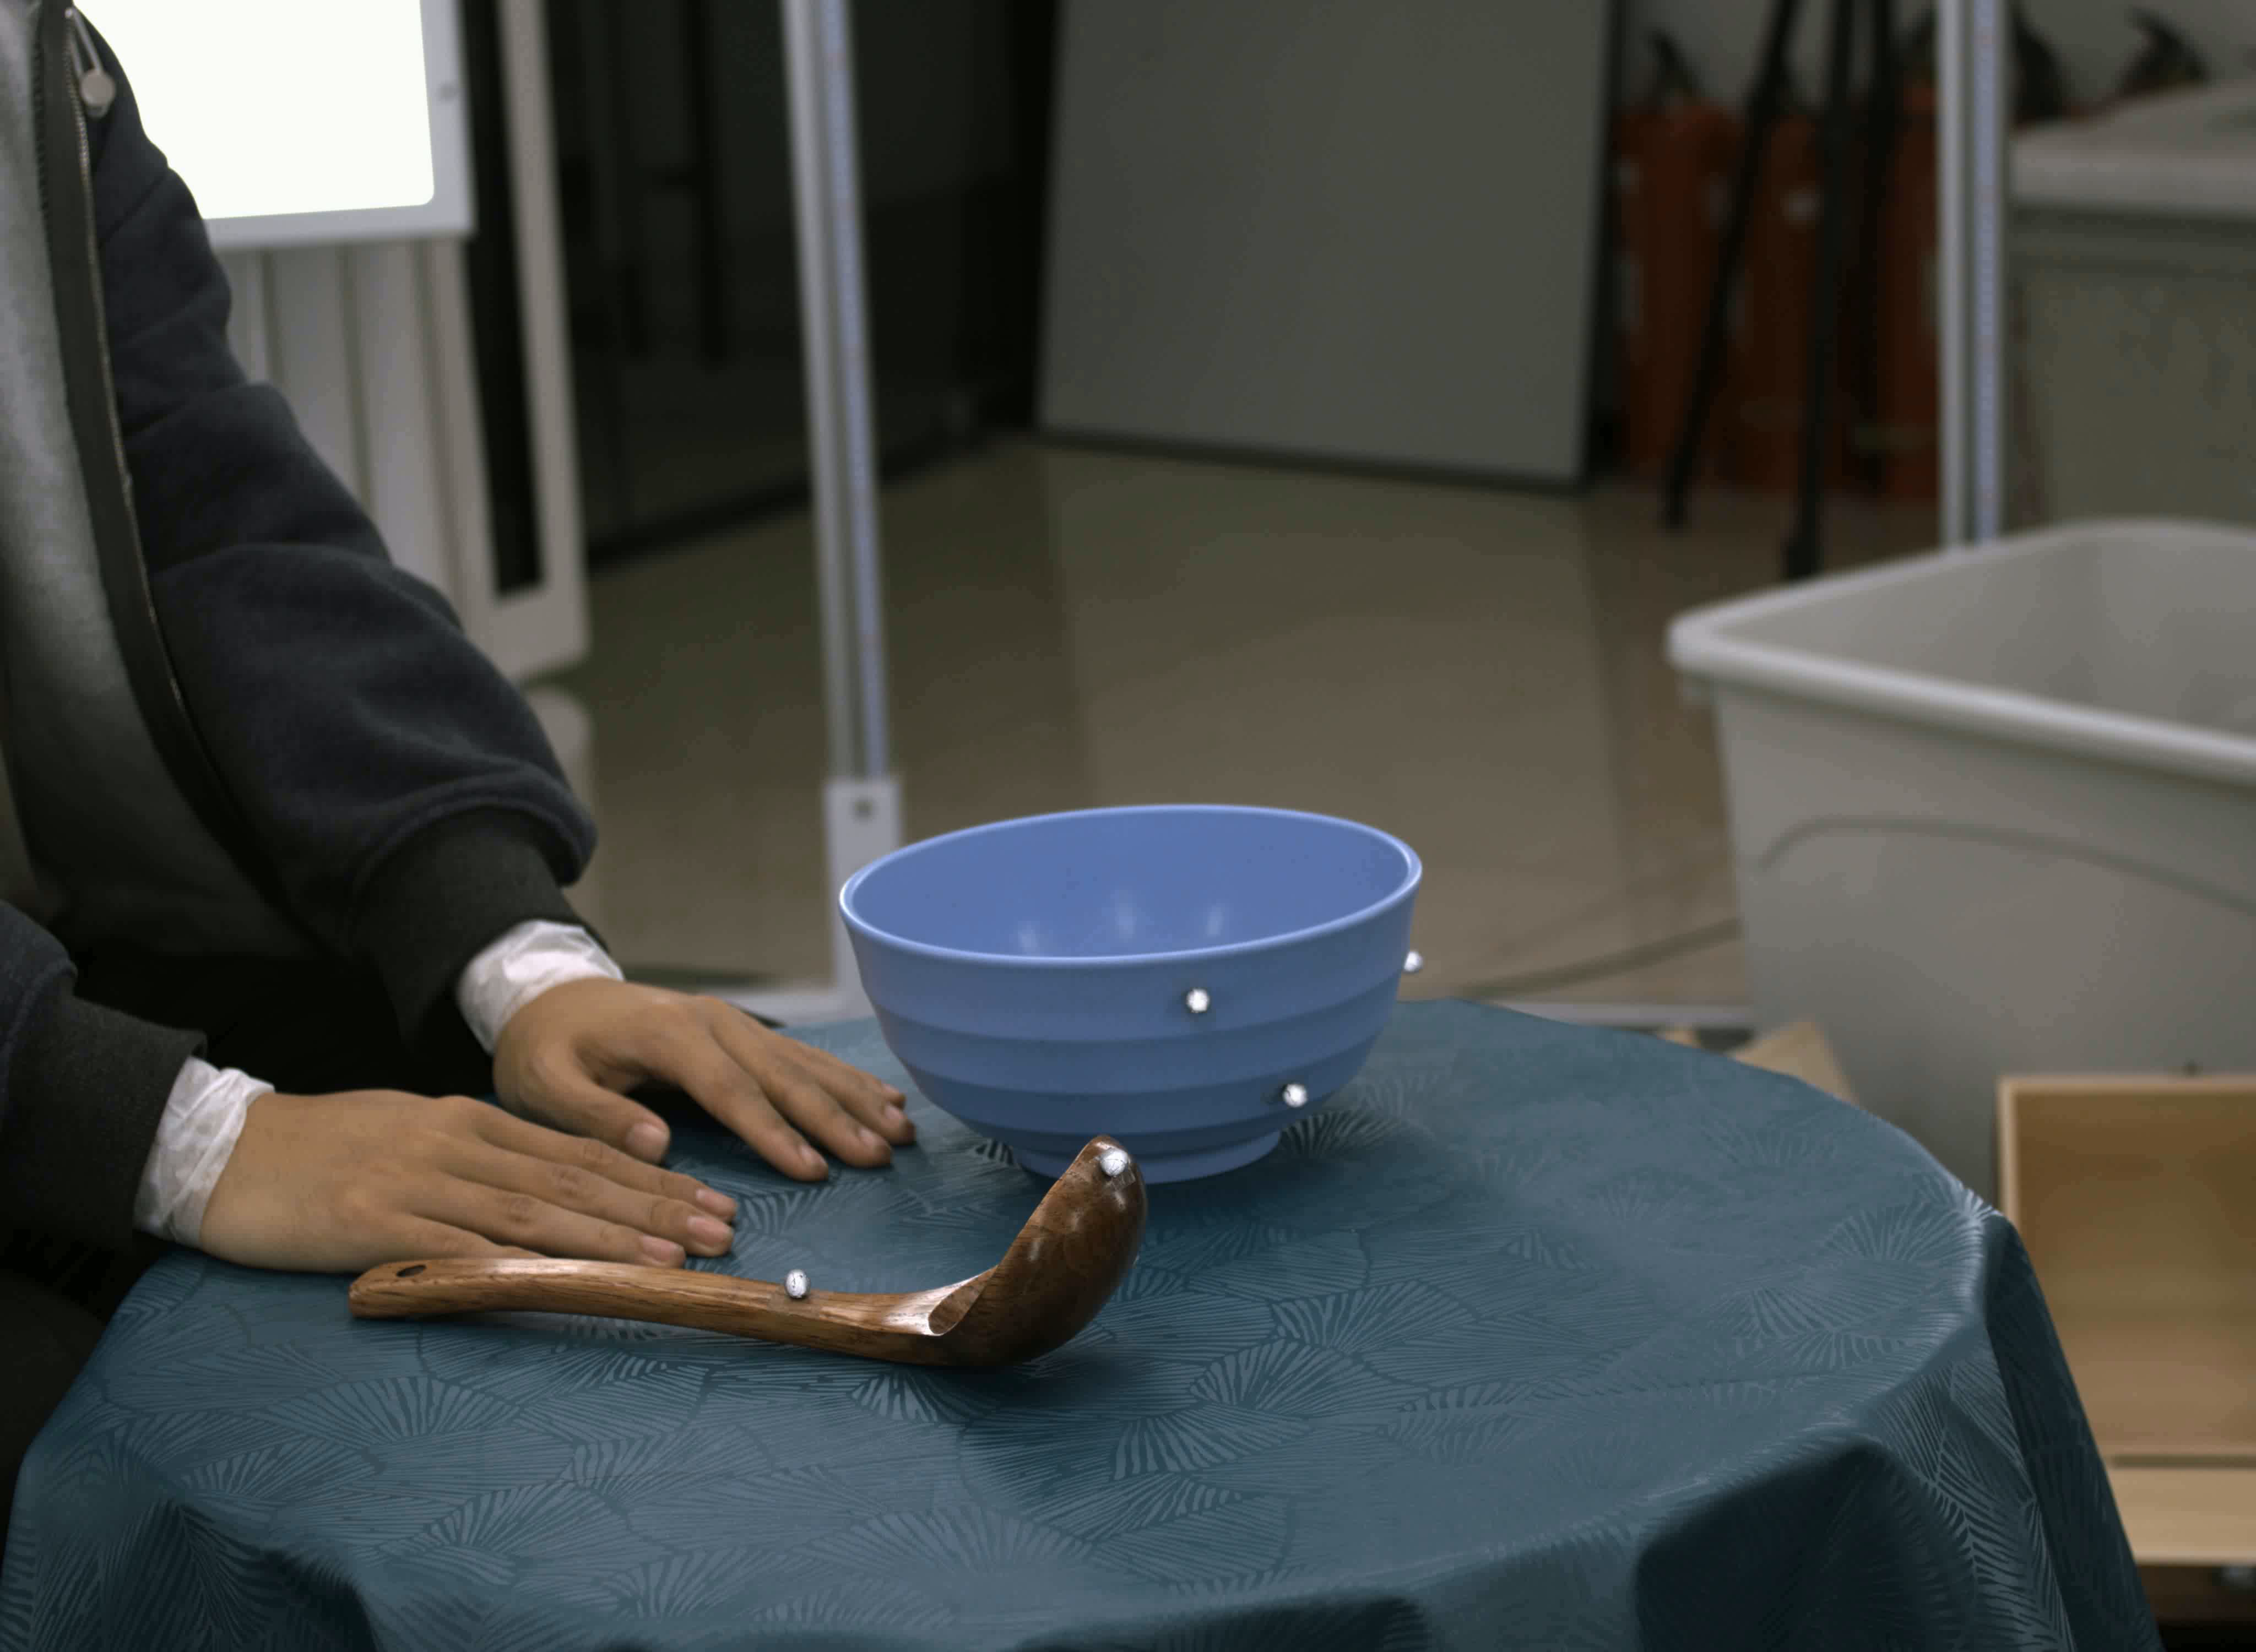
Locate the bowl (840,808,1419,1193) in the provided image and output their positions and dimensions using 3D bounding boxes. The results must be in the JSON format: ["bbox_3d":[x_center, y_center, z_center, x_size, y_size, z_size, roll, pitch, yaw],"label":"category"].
[{"bbox_3d":[0.004,0.064,1.806,0.194,0.096,0.197,-5,13,0],"label":"bowl"}]

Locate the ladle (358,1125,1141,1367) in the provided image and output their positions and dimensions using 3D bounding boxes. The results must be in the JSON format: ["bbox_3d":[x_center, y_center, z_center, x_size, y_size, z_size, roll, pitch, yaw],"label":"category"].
[{"bbox_3d":[-0.122,0.121,1.639,0.274,0.077,0.081,3,19,27],"label":"ladle"}]
